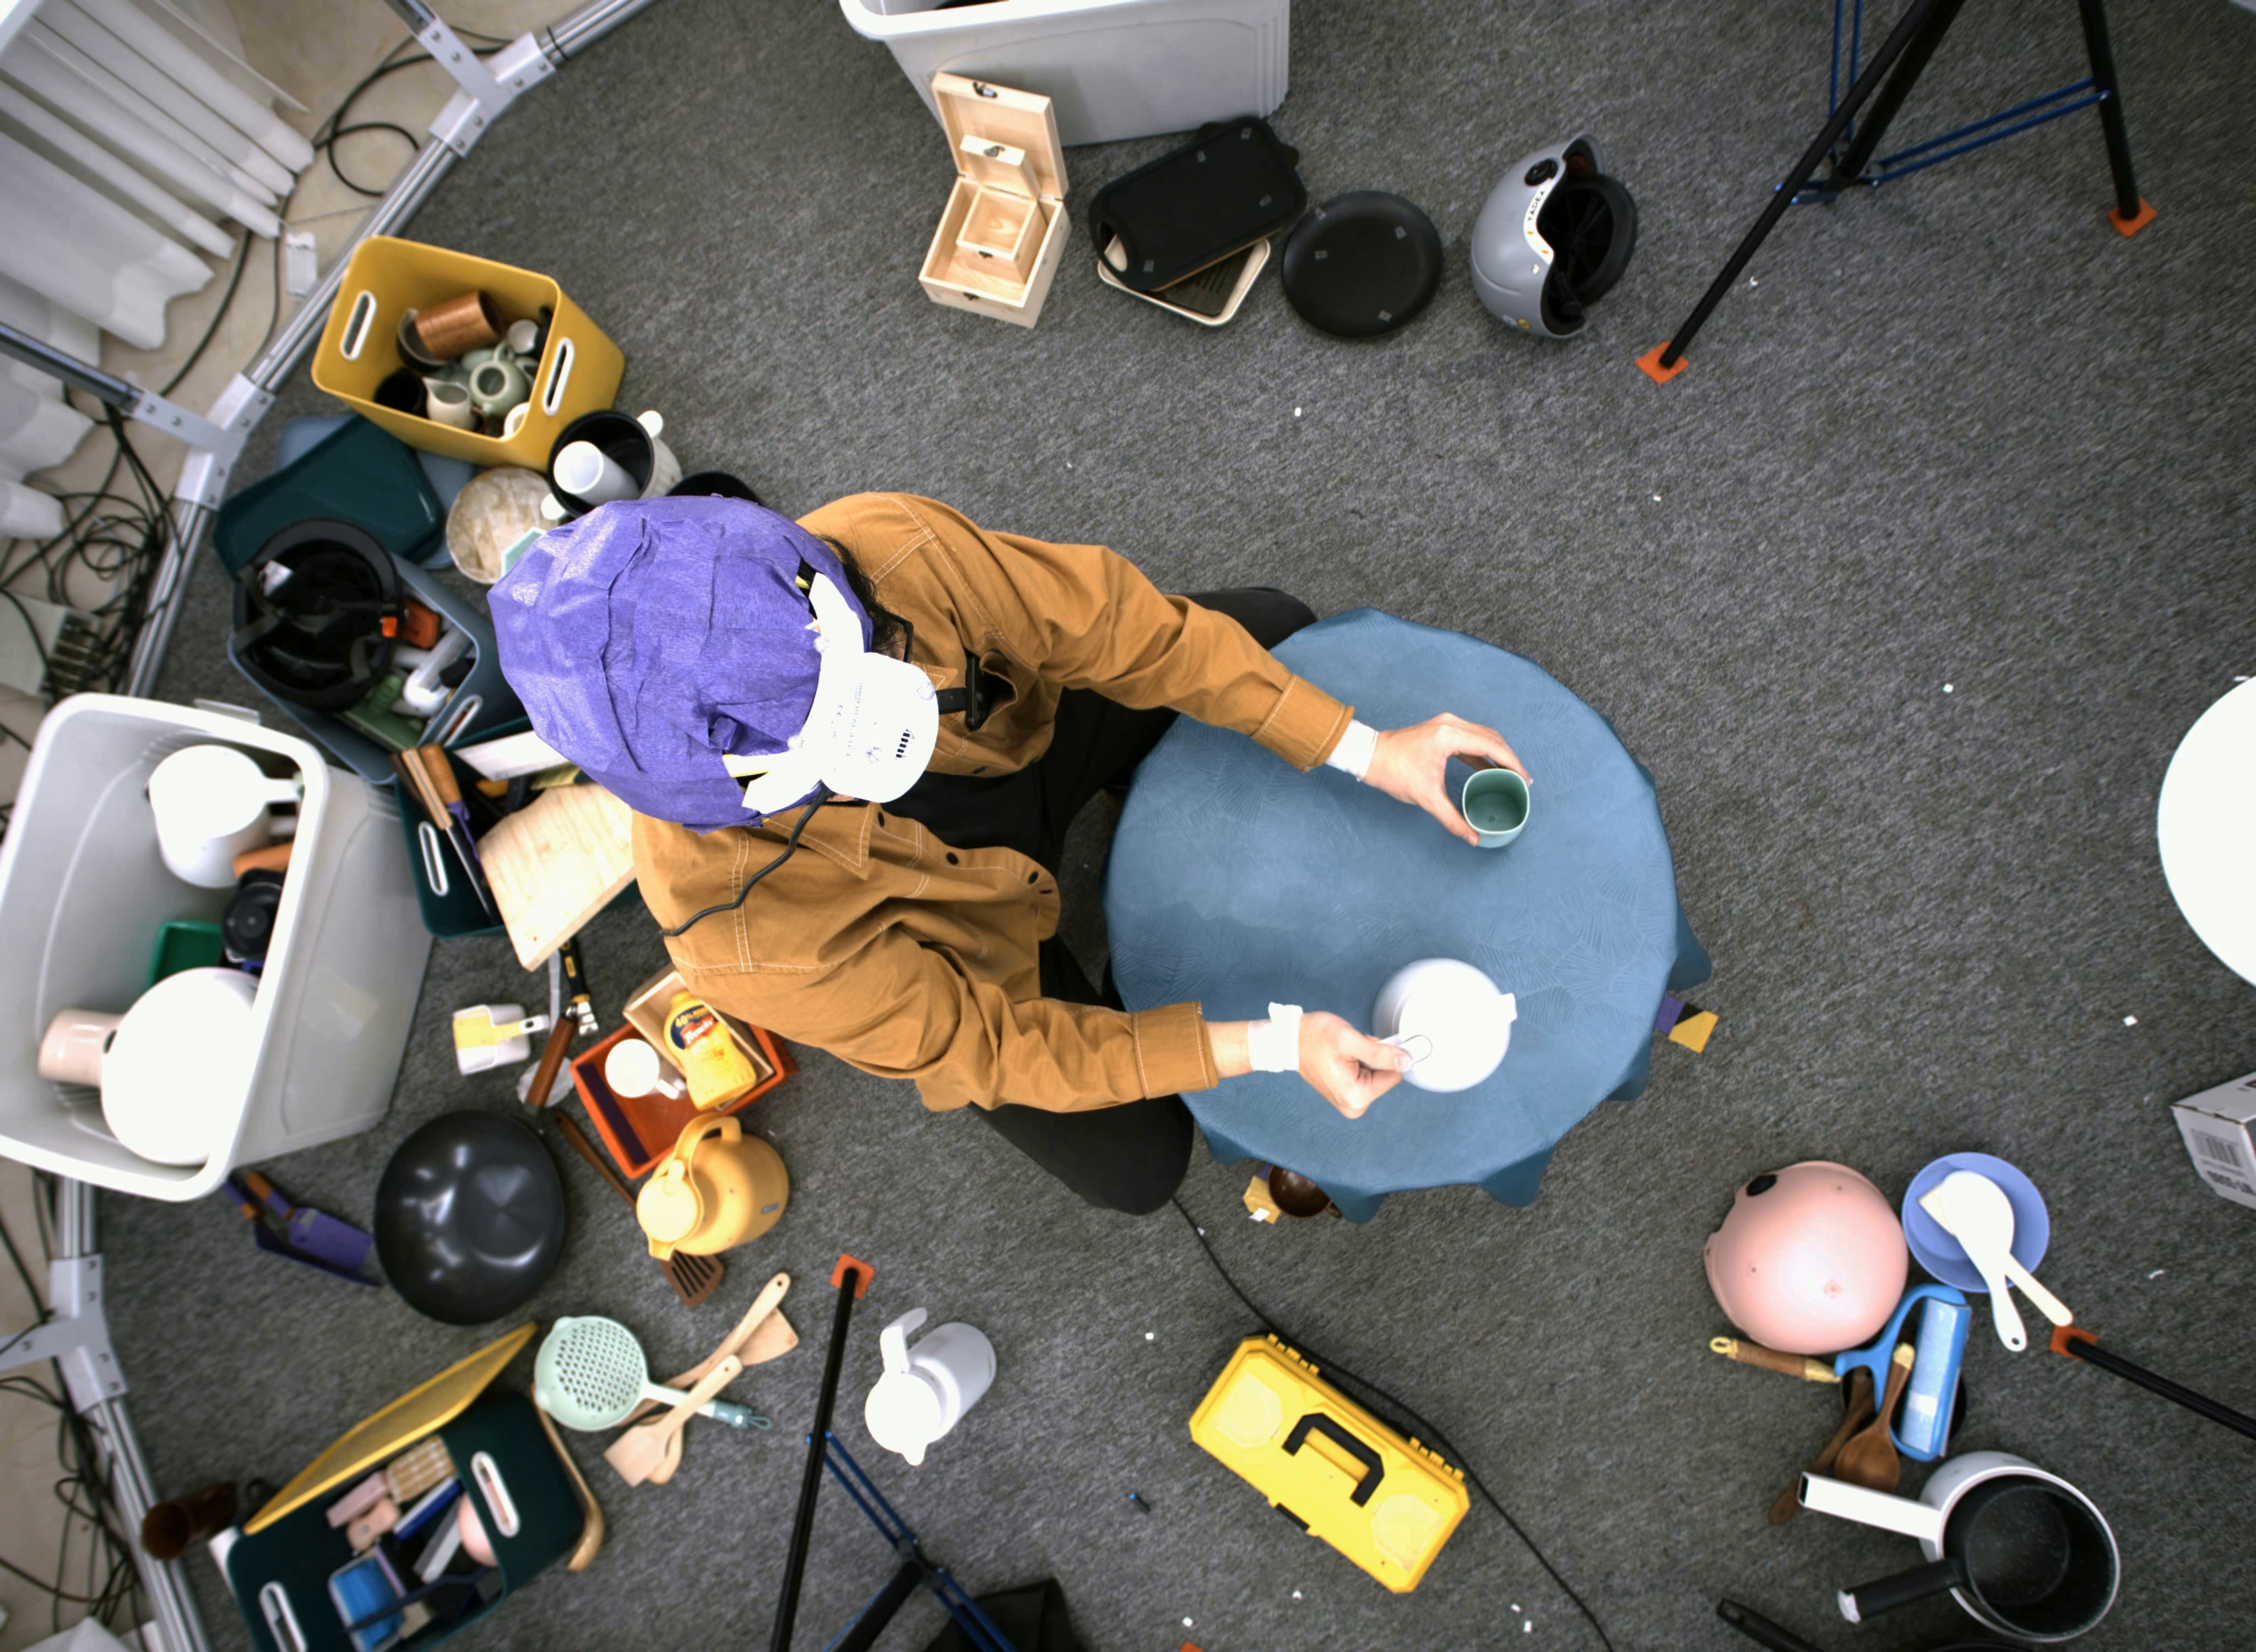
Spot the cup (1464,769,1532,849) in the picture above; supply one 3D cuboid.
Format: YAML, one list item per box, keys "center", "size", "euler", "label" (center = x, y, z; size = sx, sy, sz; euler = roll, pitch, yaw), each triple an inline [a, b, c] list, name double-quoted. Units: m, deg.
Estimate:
- center: [0.366, -0.017, 1.373]
  size: [0.067, 0.132, 0.066]
  euler: [-1, 83, 13]
  label: "cup"

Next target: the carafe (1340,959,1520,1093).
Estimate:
- center: [0.285, 0.200, 1.325]
  size: [0.168, 0.249, 0.131]
  euler: [-24, 82, 7]
  label: "carafe"
